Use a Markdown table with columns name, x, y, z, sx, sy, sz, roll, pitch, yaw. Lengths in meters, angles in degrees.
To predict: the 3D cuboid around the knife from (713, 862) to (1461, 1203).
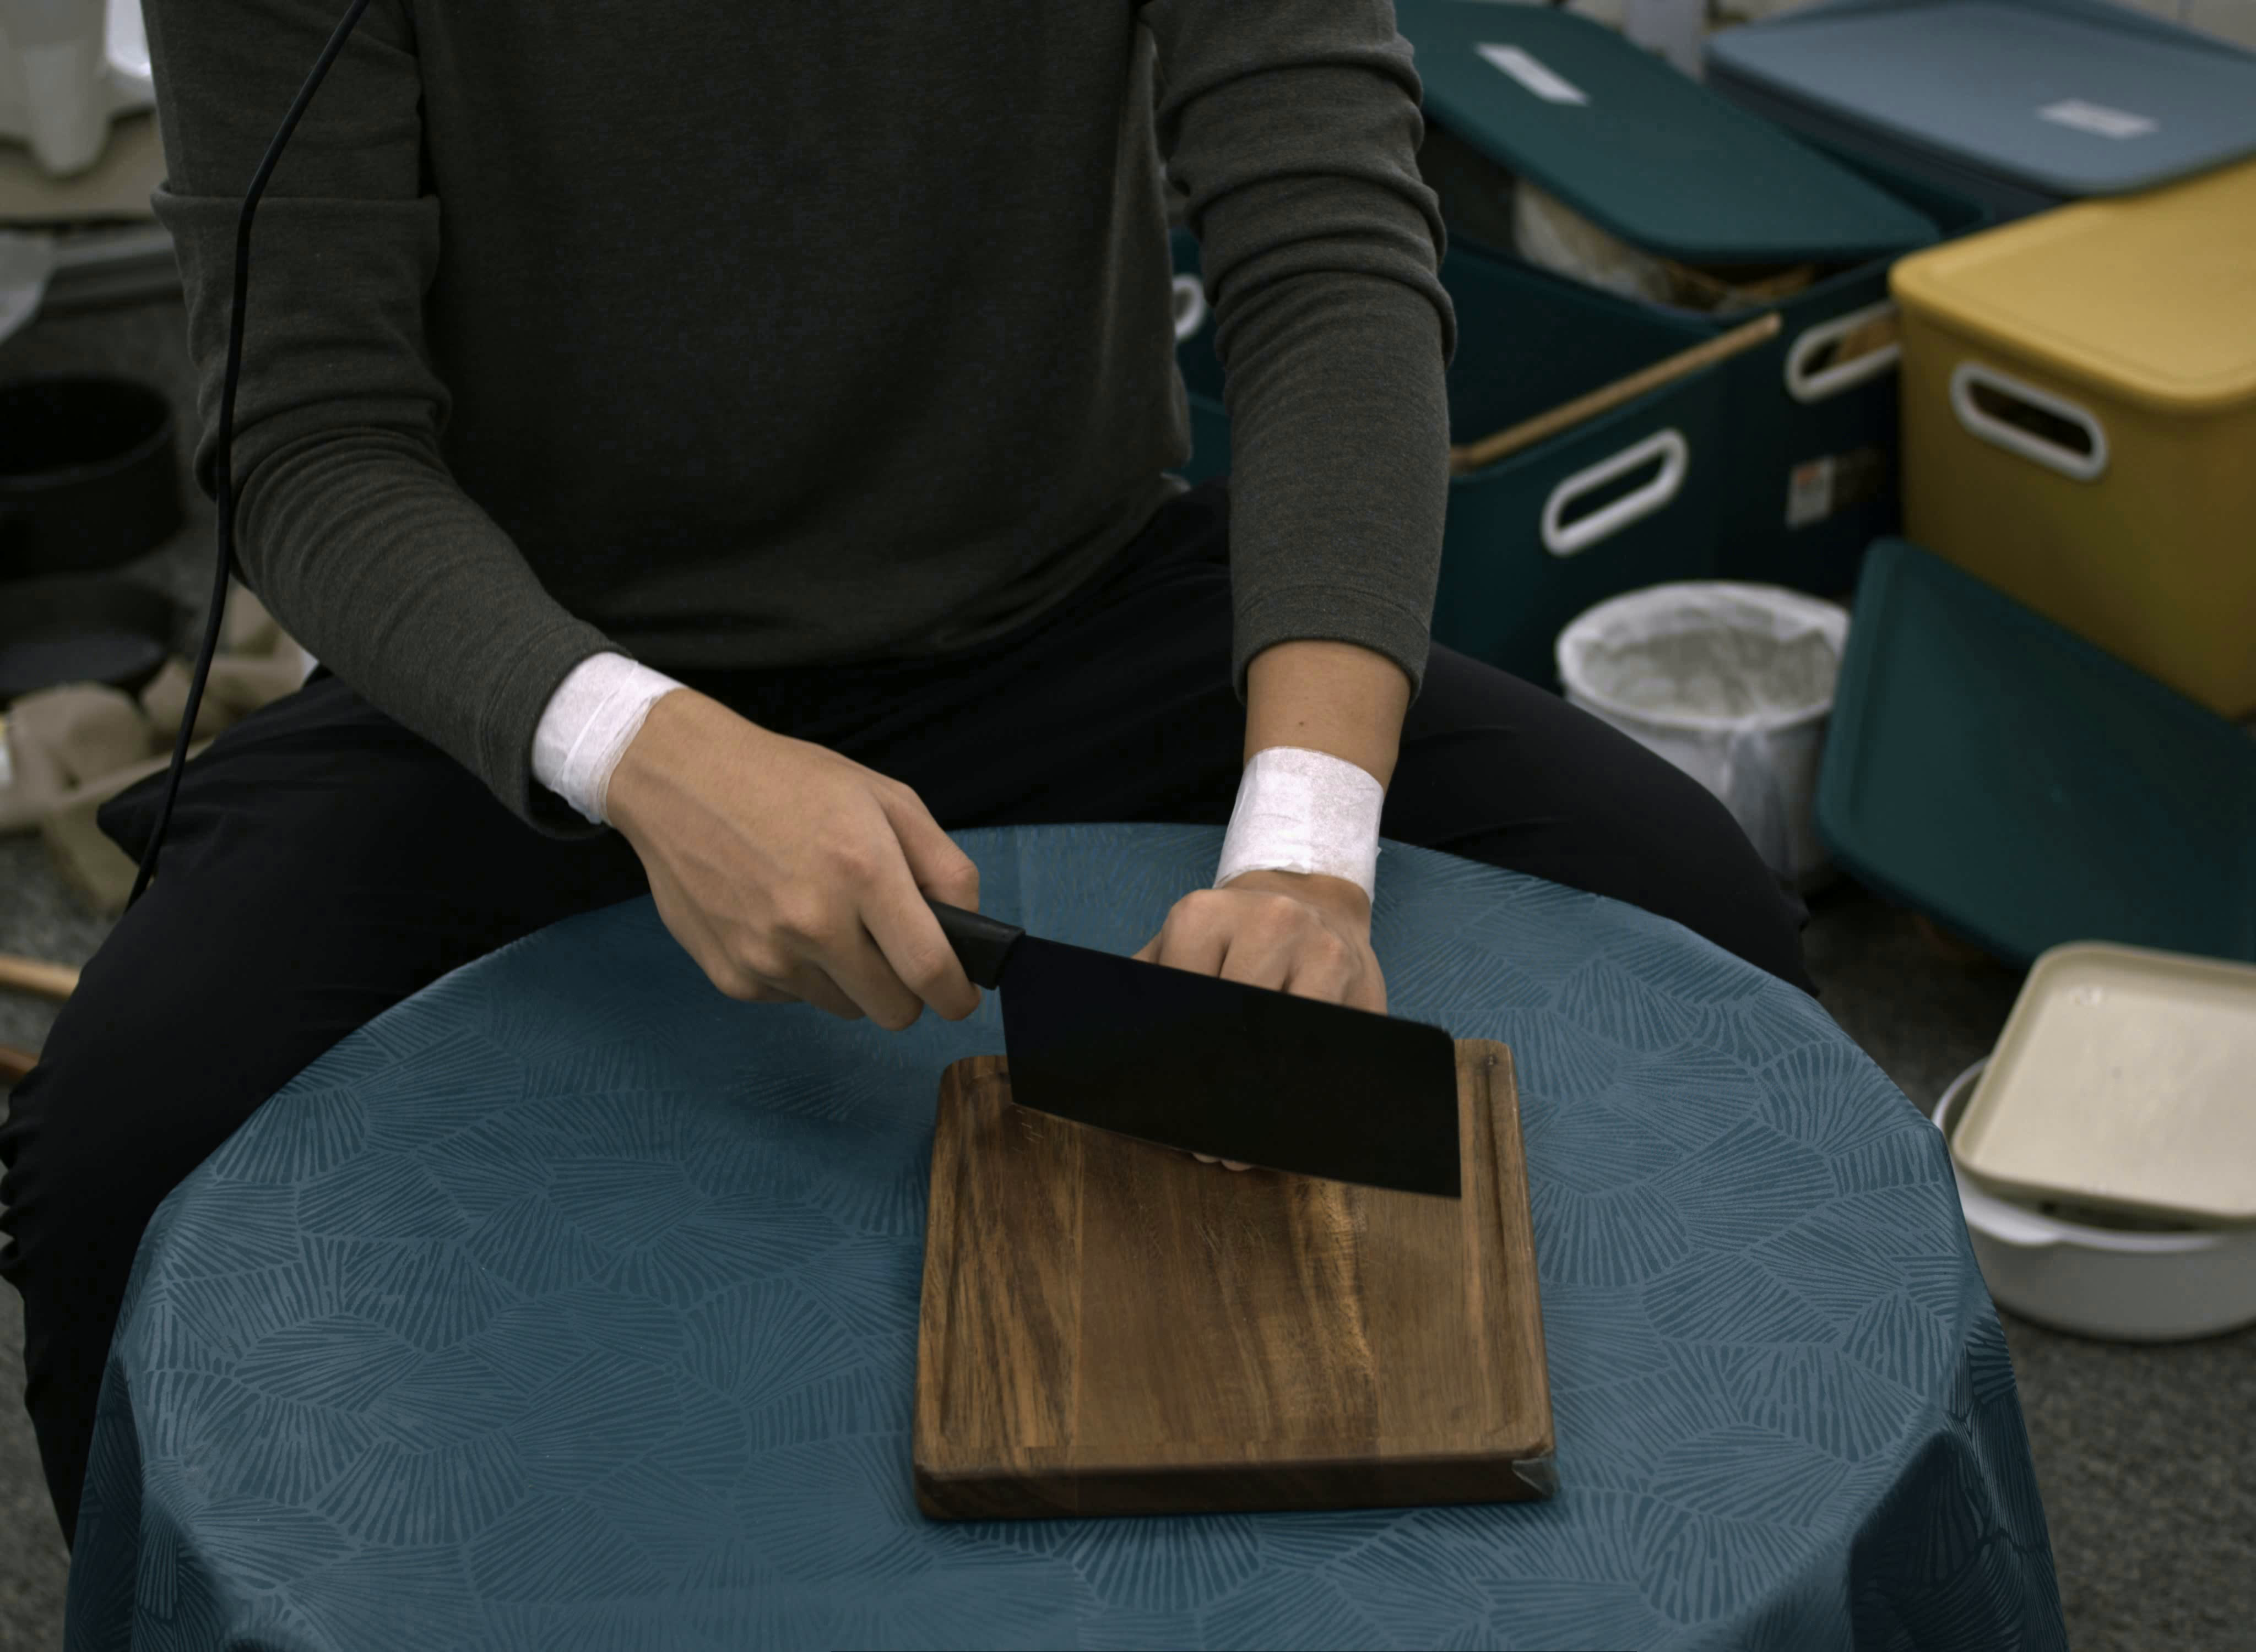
| name | x | y | z | sx | sy | sz | roll | pitch | yaw |
| --- | --- | --- | --- | --- | --- | --- | --- | --- | --- |
| knife | -0.017 | 0.064 | 1.855 | 0.301 | 0.080 | 0.021 | 17 | 29 | 32 |

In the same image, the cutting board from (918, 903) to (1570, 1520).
| name | x | y | z | sx | sy | sz | roll | pitch | yaw |
| --- | --- | --- | --- | --- | --- | --- | --- | --- | --- |
| cutting board | 0.033 | 0.117 | 1.843 | 0.200 | 0.023 | 0.357 | -2 | 27 | 1 |
